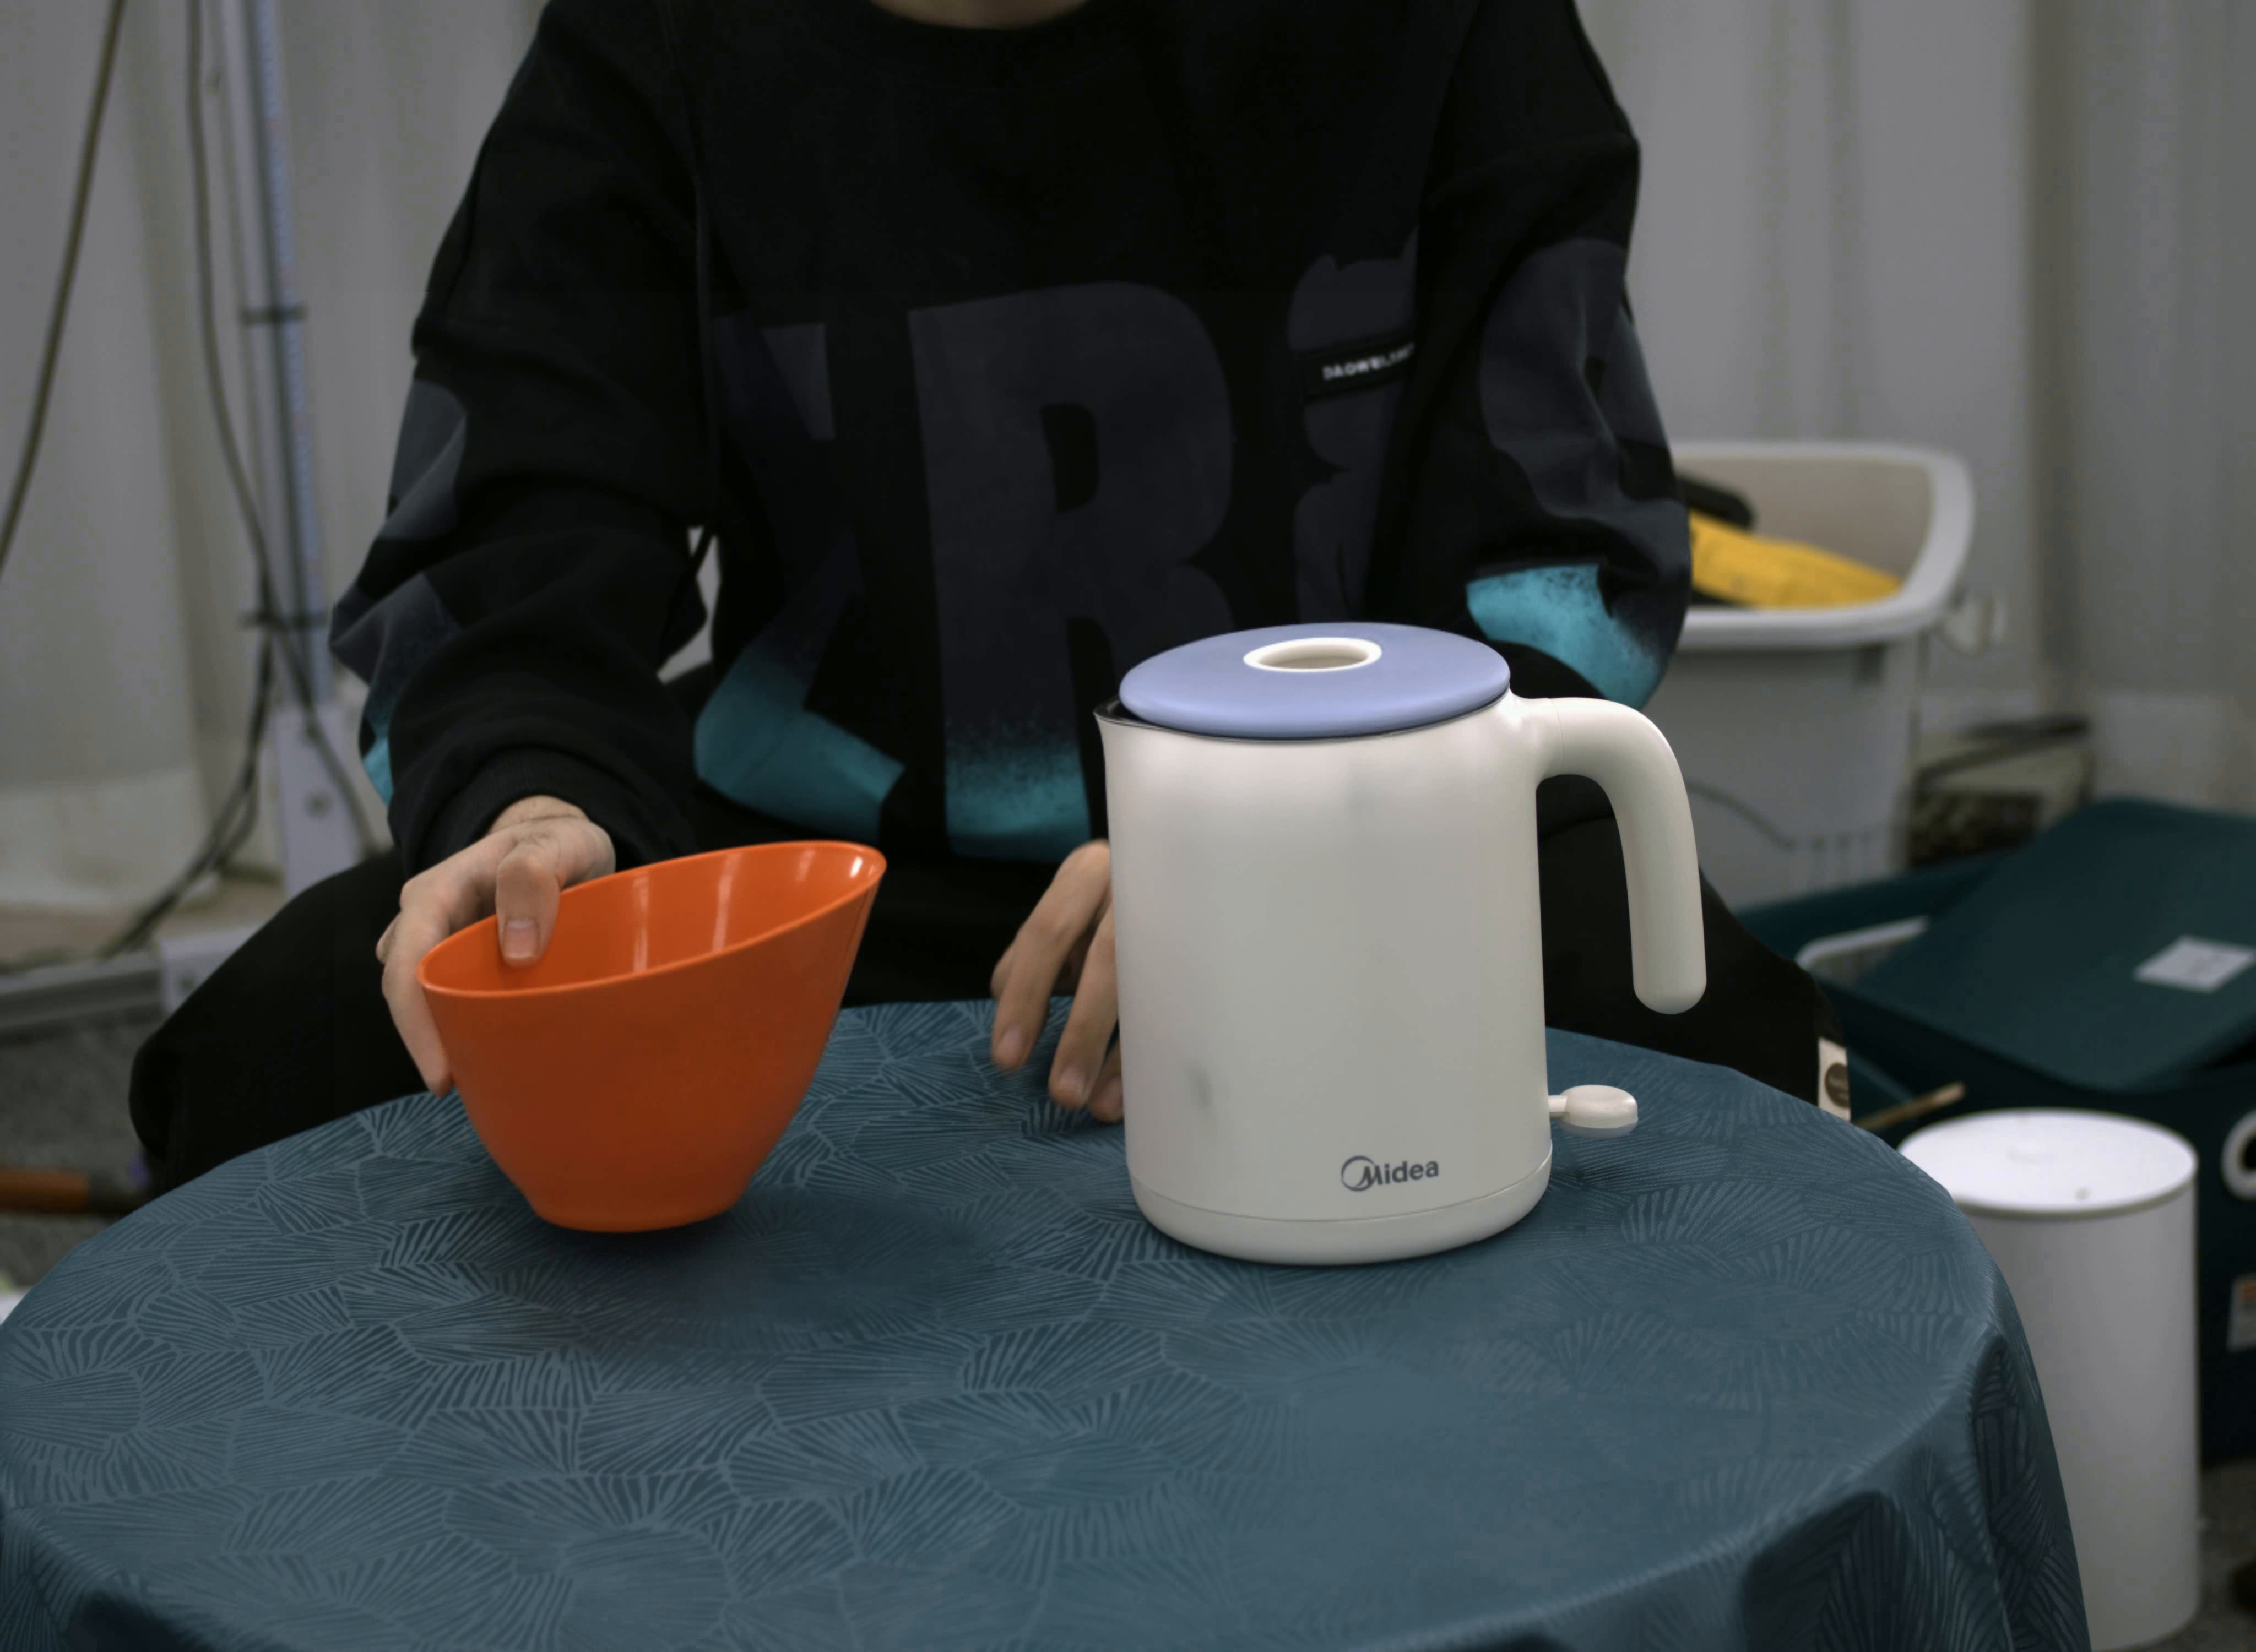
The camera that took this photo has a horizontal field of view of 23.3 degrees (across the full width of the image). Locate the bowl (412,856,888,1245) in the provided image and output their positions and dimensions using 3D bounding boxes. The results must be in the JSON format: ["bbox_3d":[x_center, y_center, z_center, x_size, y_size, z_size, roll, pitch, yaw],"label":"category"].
[{"bbox_3d":[-0.145,0.070,1.686,0.147,0.104,0.149,-2,14,0],"label":"bowl"}]

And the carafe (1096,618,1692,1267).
[{"bbox_3d":[0.083,0.032,1.678,0.190,0.182,0.133,-4,15,-13],"label":"carafe"}]
